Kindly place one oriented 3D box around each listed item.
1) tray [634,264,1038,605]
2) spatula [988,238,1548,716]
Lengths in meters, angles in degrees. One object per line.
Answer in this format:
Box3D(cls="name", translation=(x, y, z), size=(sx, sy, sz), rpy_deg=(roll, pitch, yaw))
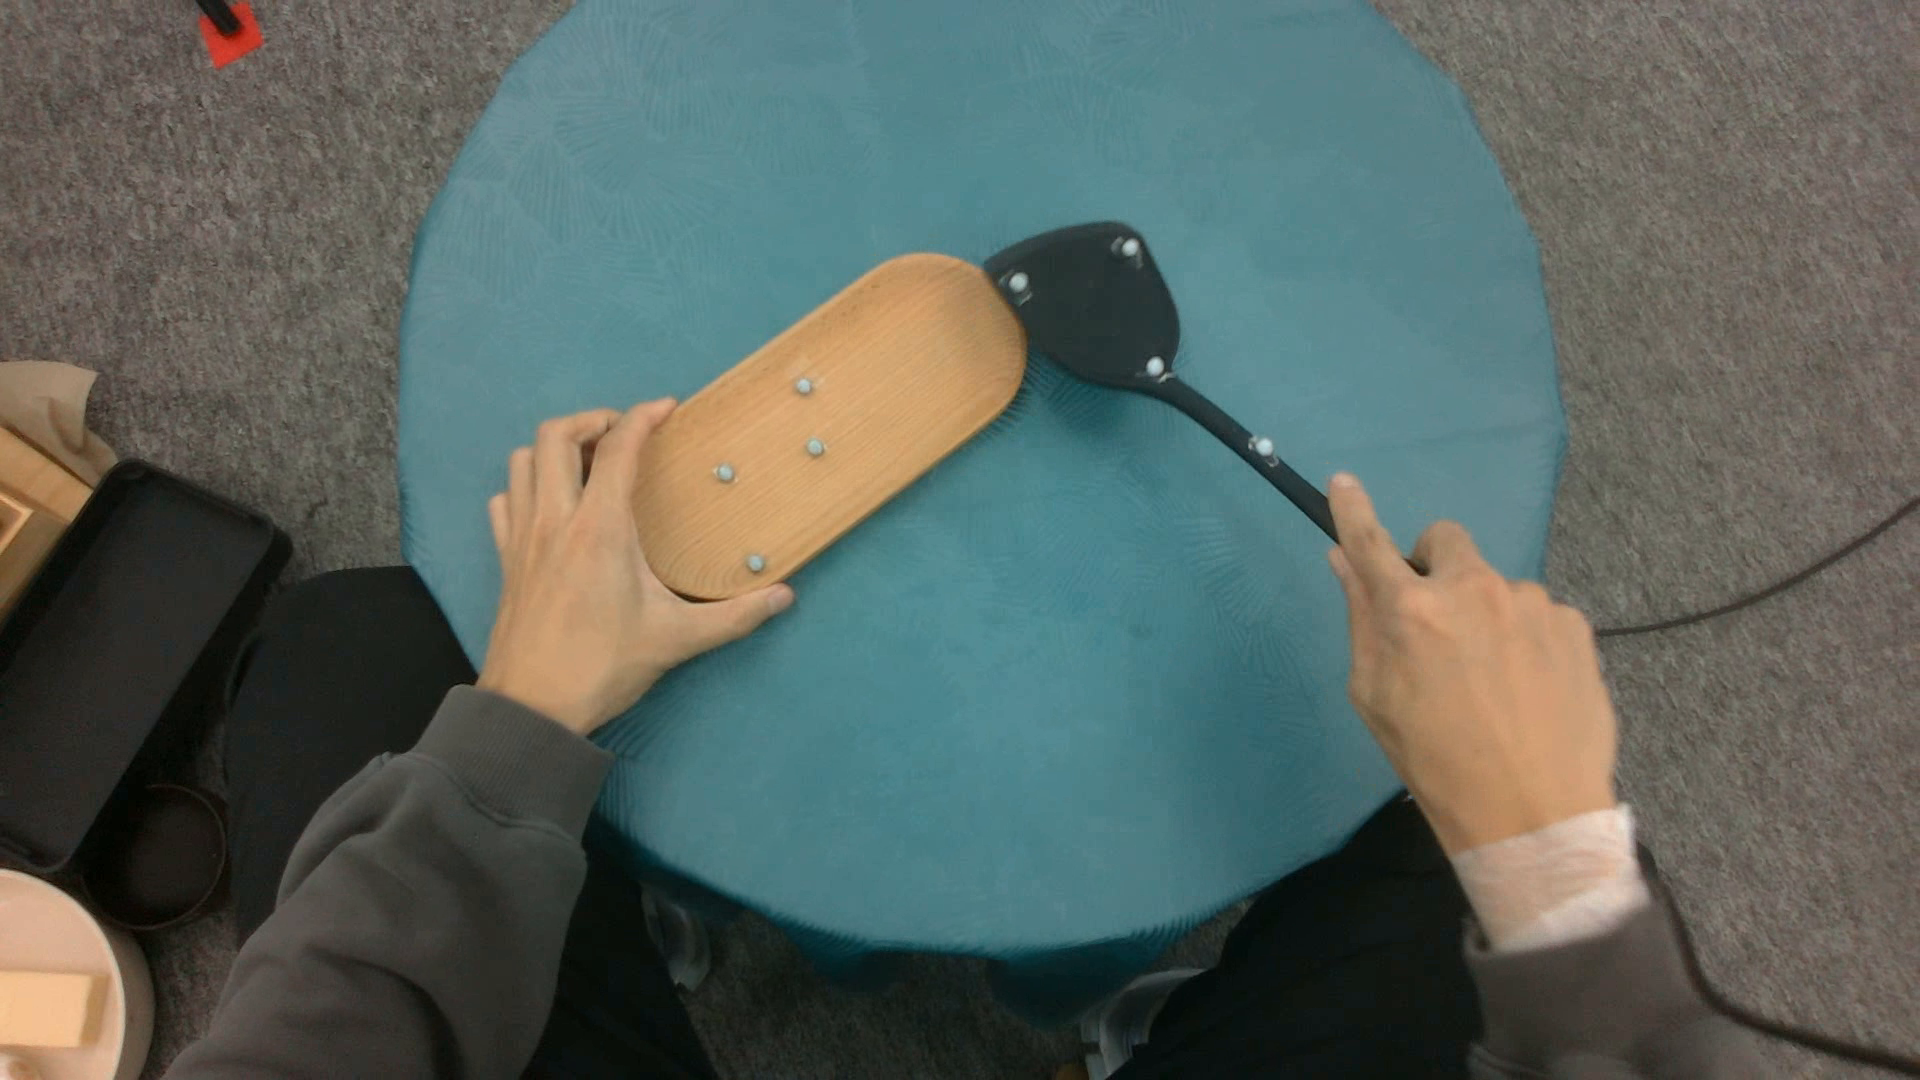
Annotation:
Box3D(cls="tray", translation=(-0.061, -0.056, 0.704), size=(0.231, 0.020, 0.102), rpy_deg=(-38, 80, -13))
Box3D(cls="spatula", translation=(0.140, -0.038, 0.632), size=(0.100, 0.040, 0.326), rpy_deg=(-24, 52, -29))
